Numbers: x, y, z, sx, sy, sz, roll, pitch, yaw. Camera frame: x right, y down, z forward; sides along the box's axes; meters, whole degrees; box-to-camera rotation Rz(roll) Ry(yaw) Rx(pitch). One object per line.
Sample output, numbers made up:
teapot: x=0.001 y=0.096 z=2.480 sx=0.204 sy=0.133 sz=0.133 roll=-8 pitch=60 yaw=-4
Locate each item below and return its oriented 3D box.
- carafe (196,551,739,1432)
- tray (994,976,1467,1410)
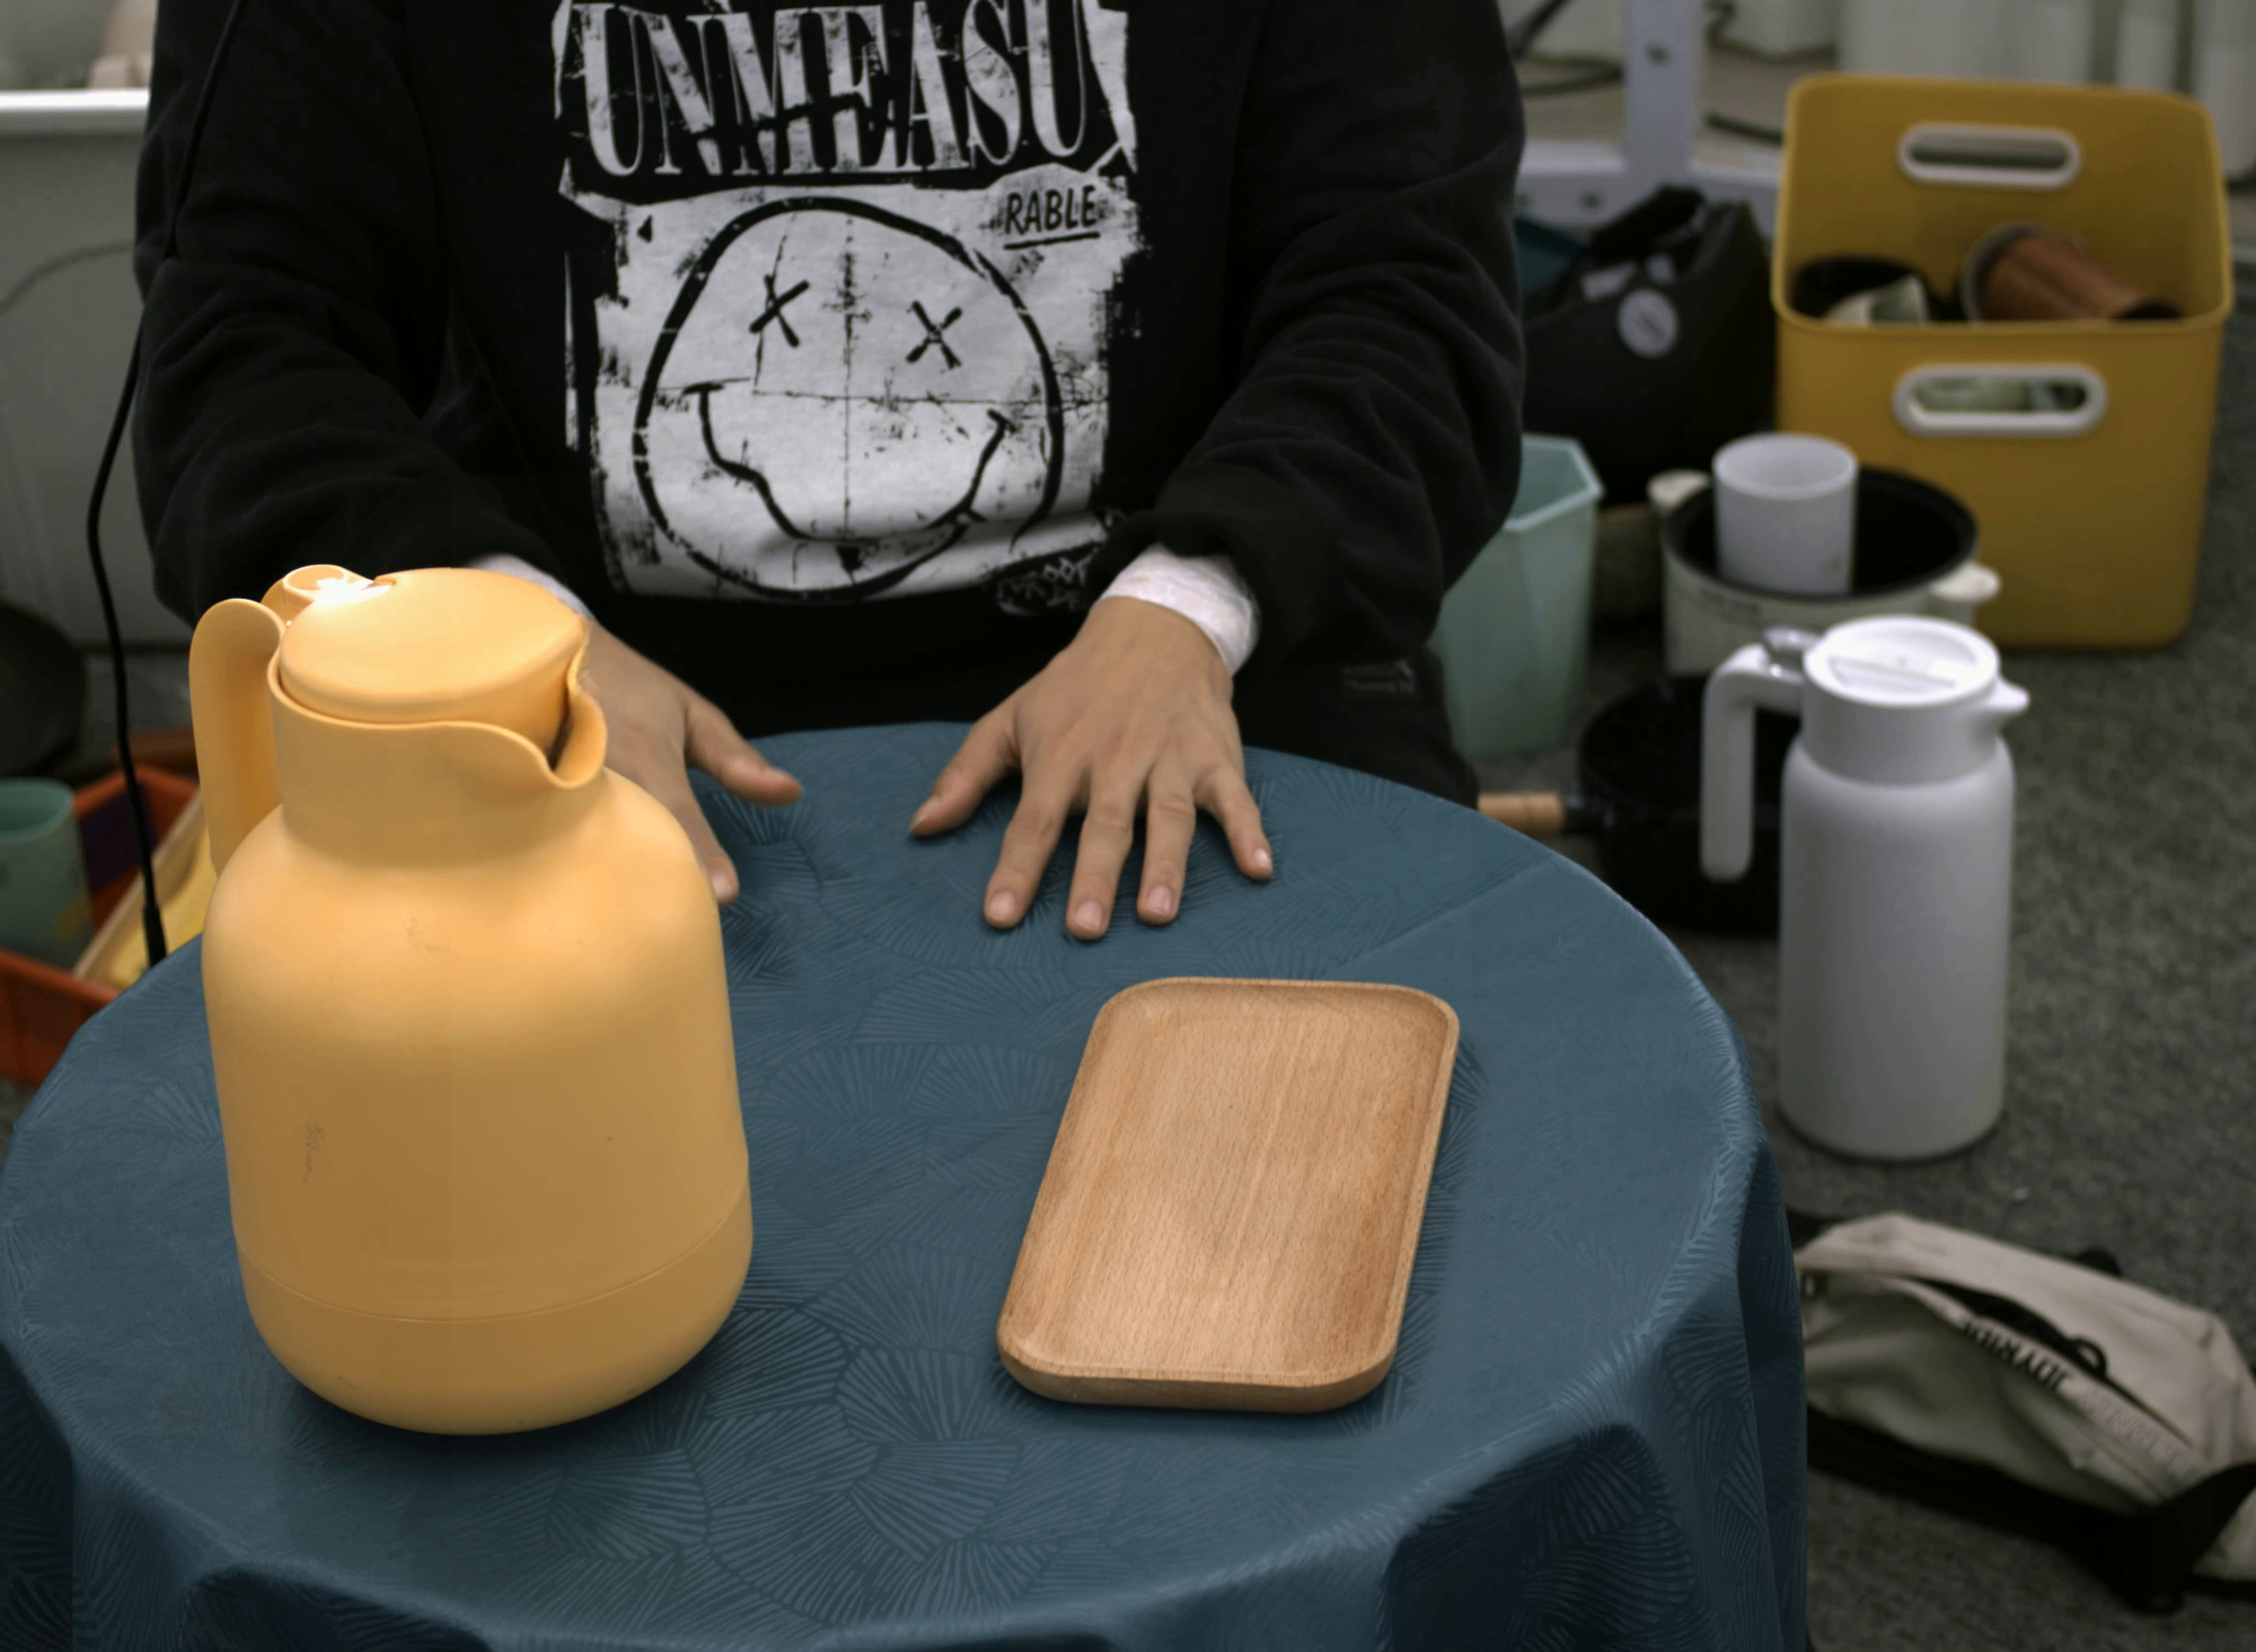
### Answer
carafe: x=-0.218 y=0.041 z=1.755 sx=0.165 sy=0.257 sz=0.202 roll=-21 pitch=33 yaw=-36
tray: x=0.037 y=0.118 z=1.845 sx=0.130 sy=0.022 sz=0.255 roll=4 pitch=27 yaw=9
